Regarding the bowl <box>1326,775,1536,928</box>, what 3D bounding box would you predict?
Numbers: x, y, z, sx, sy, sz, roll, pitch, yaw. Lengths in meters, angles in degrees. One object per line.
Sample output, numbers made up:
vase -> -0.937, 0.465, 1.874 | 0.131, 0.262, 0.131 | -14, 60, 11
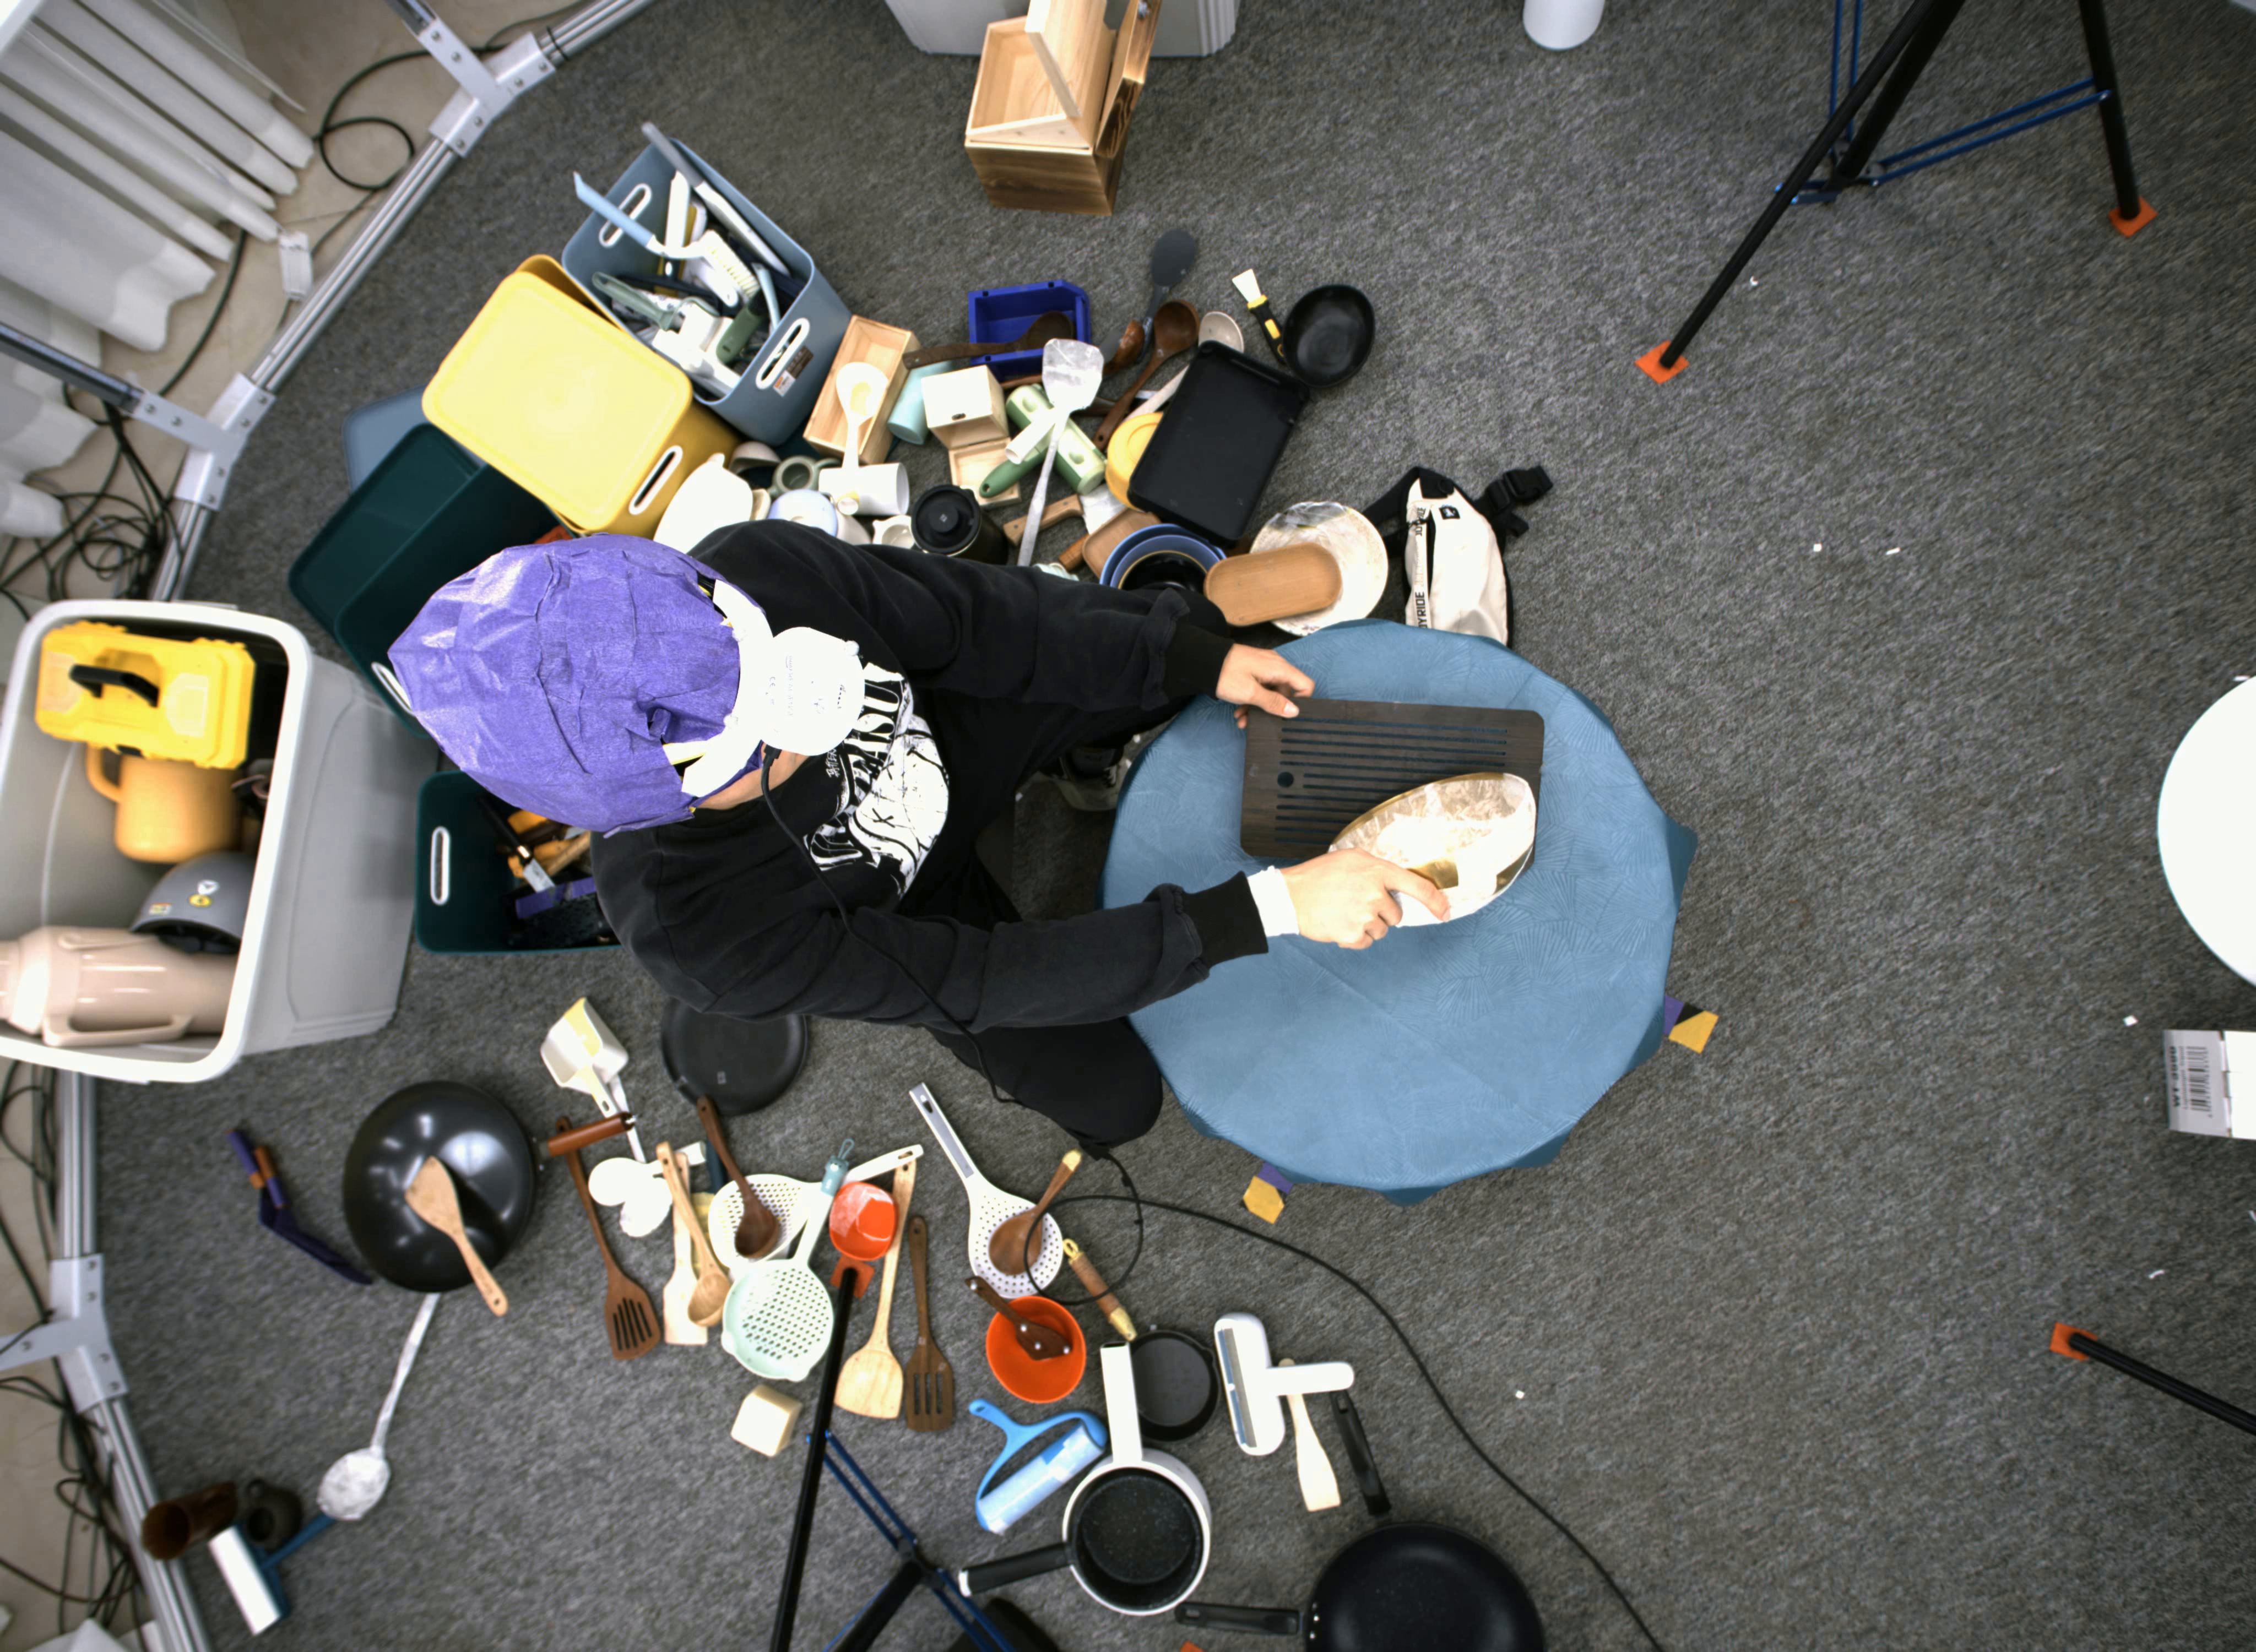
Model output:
bowl -> 0.301, 0.036, 1.330 | 0.216, 0.211, 0.095 | -24, 106, 7

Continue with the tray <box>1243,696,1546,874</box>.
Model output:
tray -> 0.276, -0.045, 1.439 | 0.307, 0.018, 0.171 | 4, 97, 6
